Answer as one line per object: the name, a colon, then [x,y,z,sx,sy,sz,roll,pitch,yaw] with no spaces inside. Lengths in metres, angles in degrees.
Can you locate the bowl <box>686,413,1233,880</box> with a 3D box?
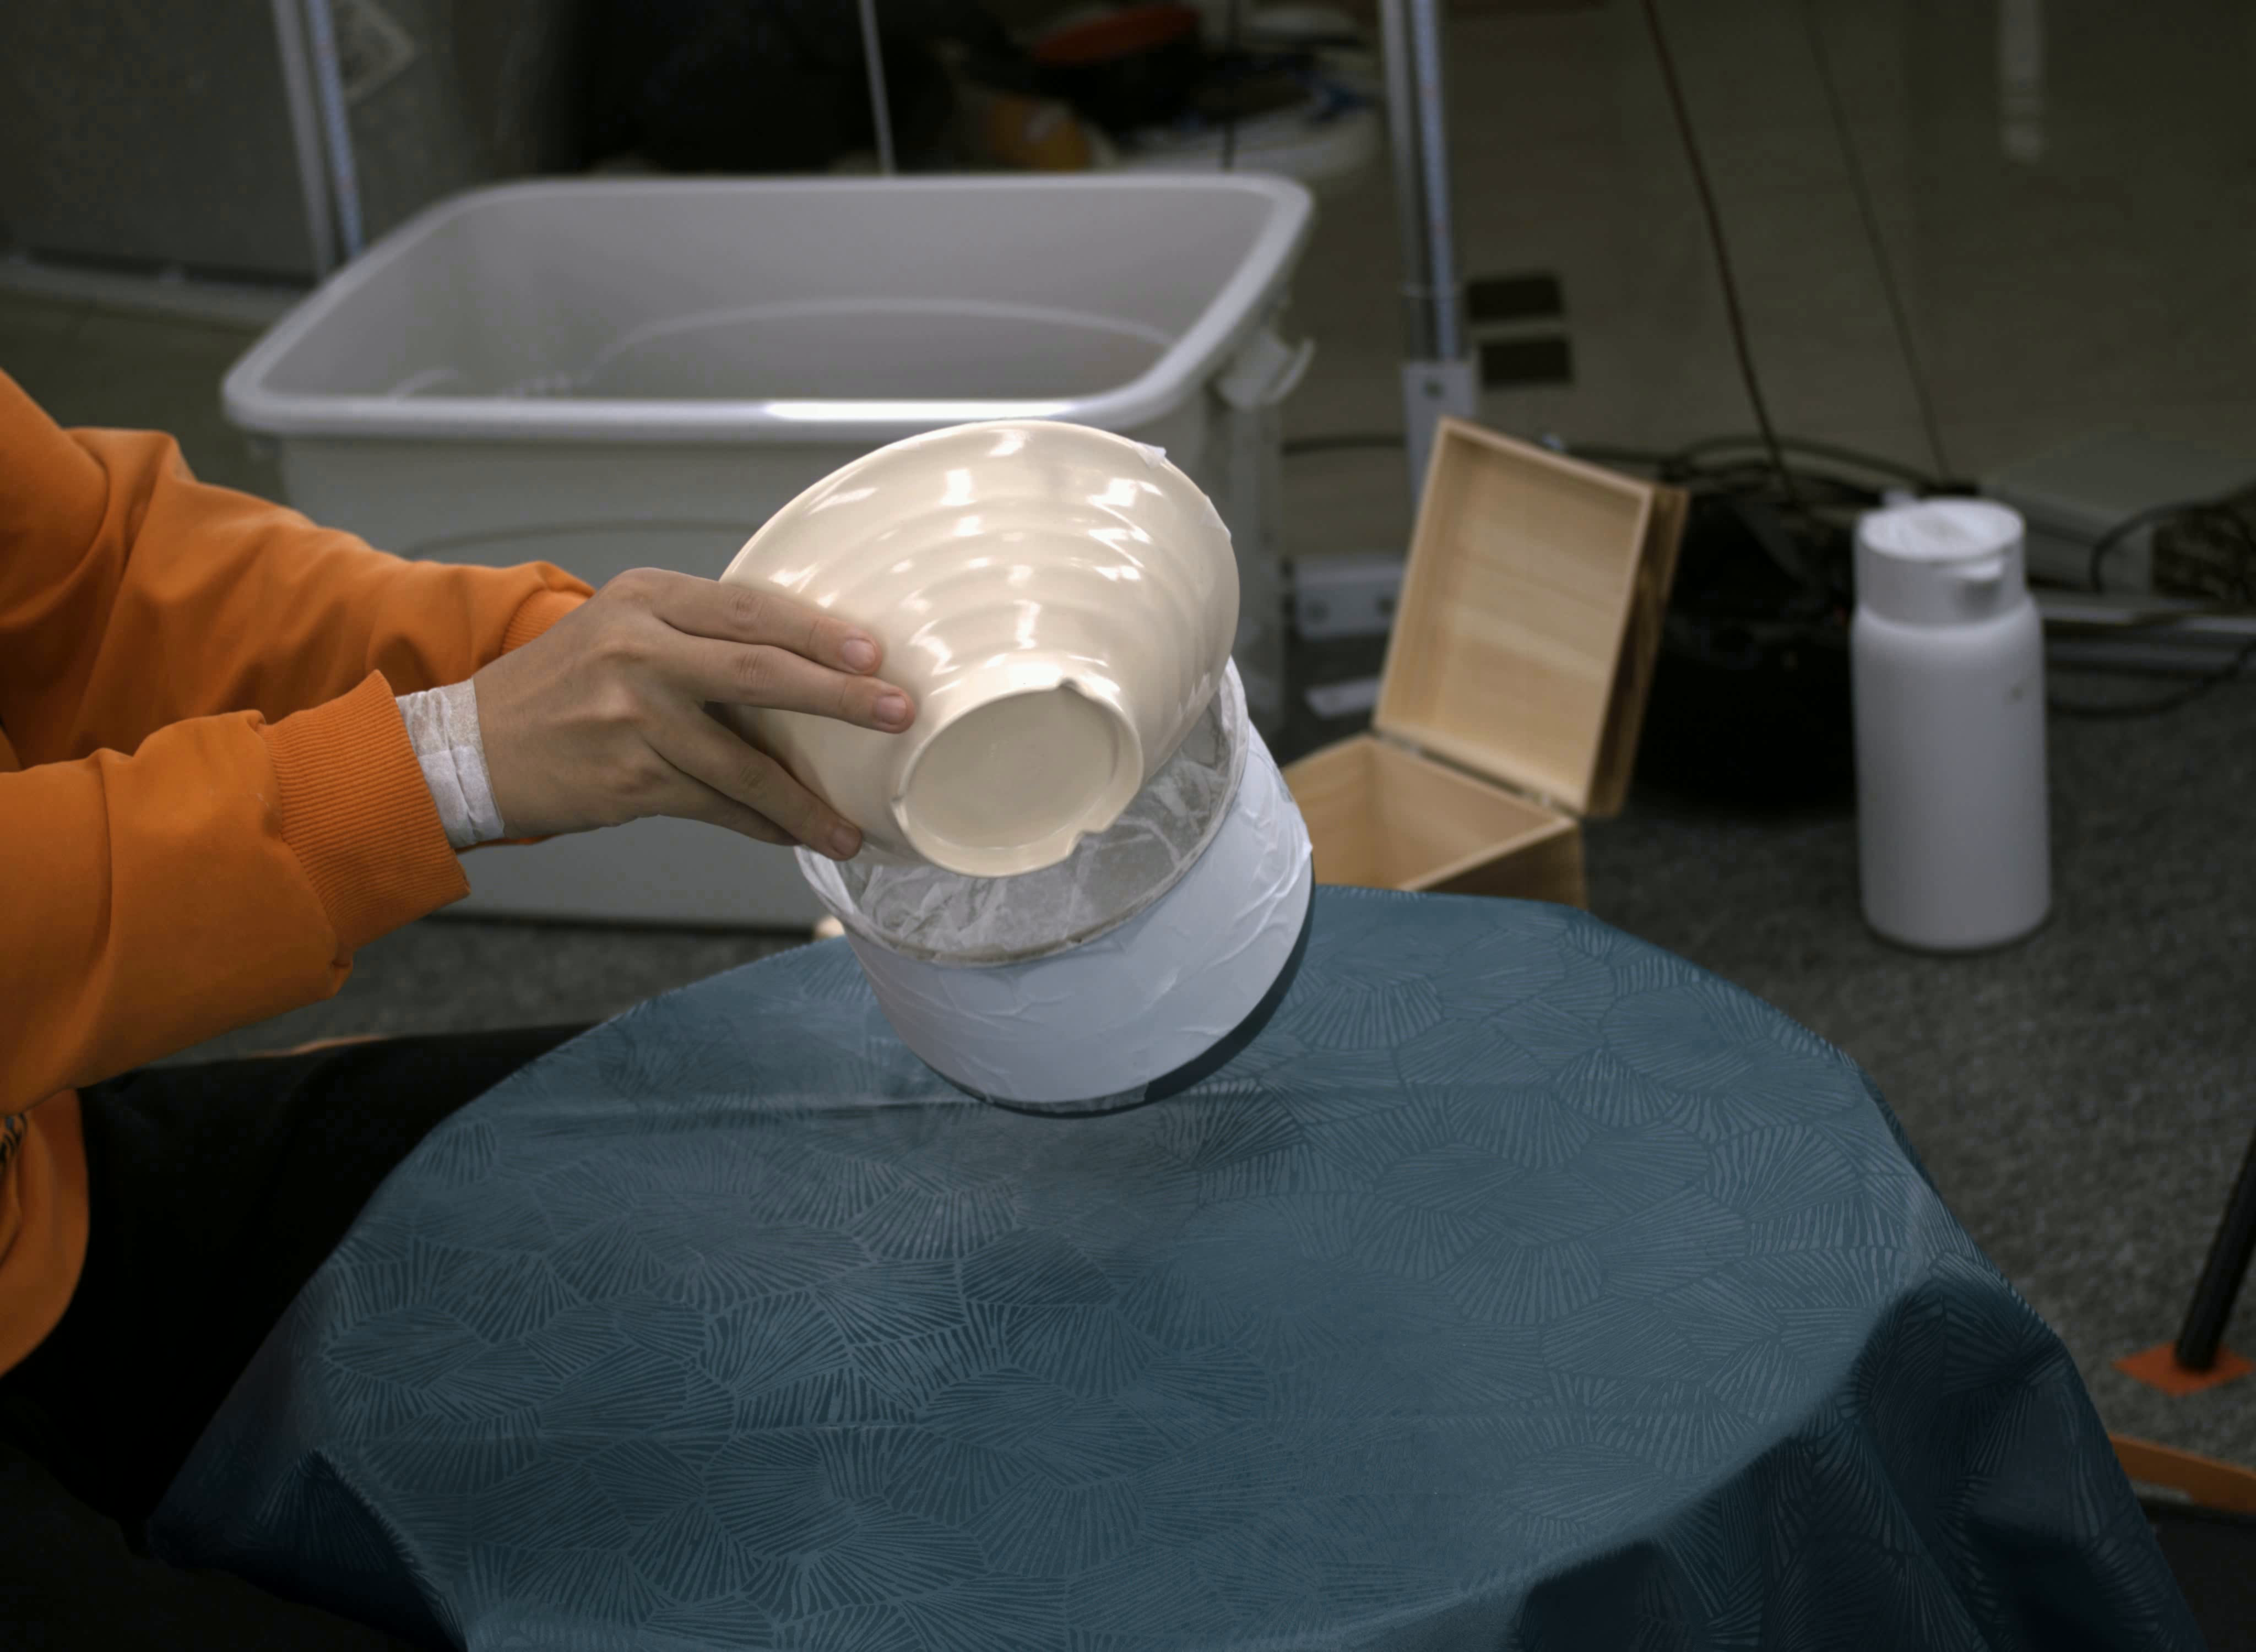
bowl: [-0.046,-0.039,1.967,0.203,0.208,0.076,-13,45,-15]

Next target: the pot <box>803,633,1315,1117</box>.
pot: [-0.044,-0.002,2.140,0.231,0.139,0.177,31,70,32]
